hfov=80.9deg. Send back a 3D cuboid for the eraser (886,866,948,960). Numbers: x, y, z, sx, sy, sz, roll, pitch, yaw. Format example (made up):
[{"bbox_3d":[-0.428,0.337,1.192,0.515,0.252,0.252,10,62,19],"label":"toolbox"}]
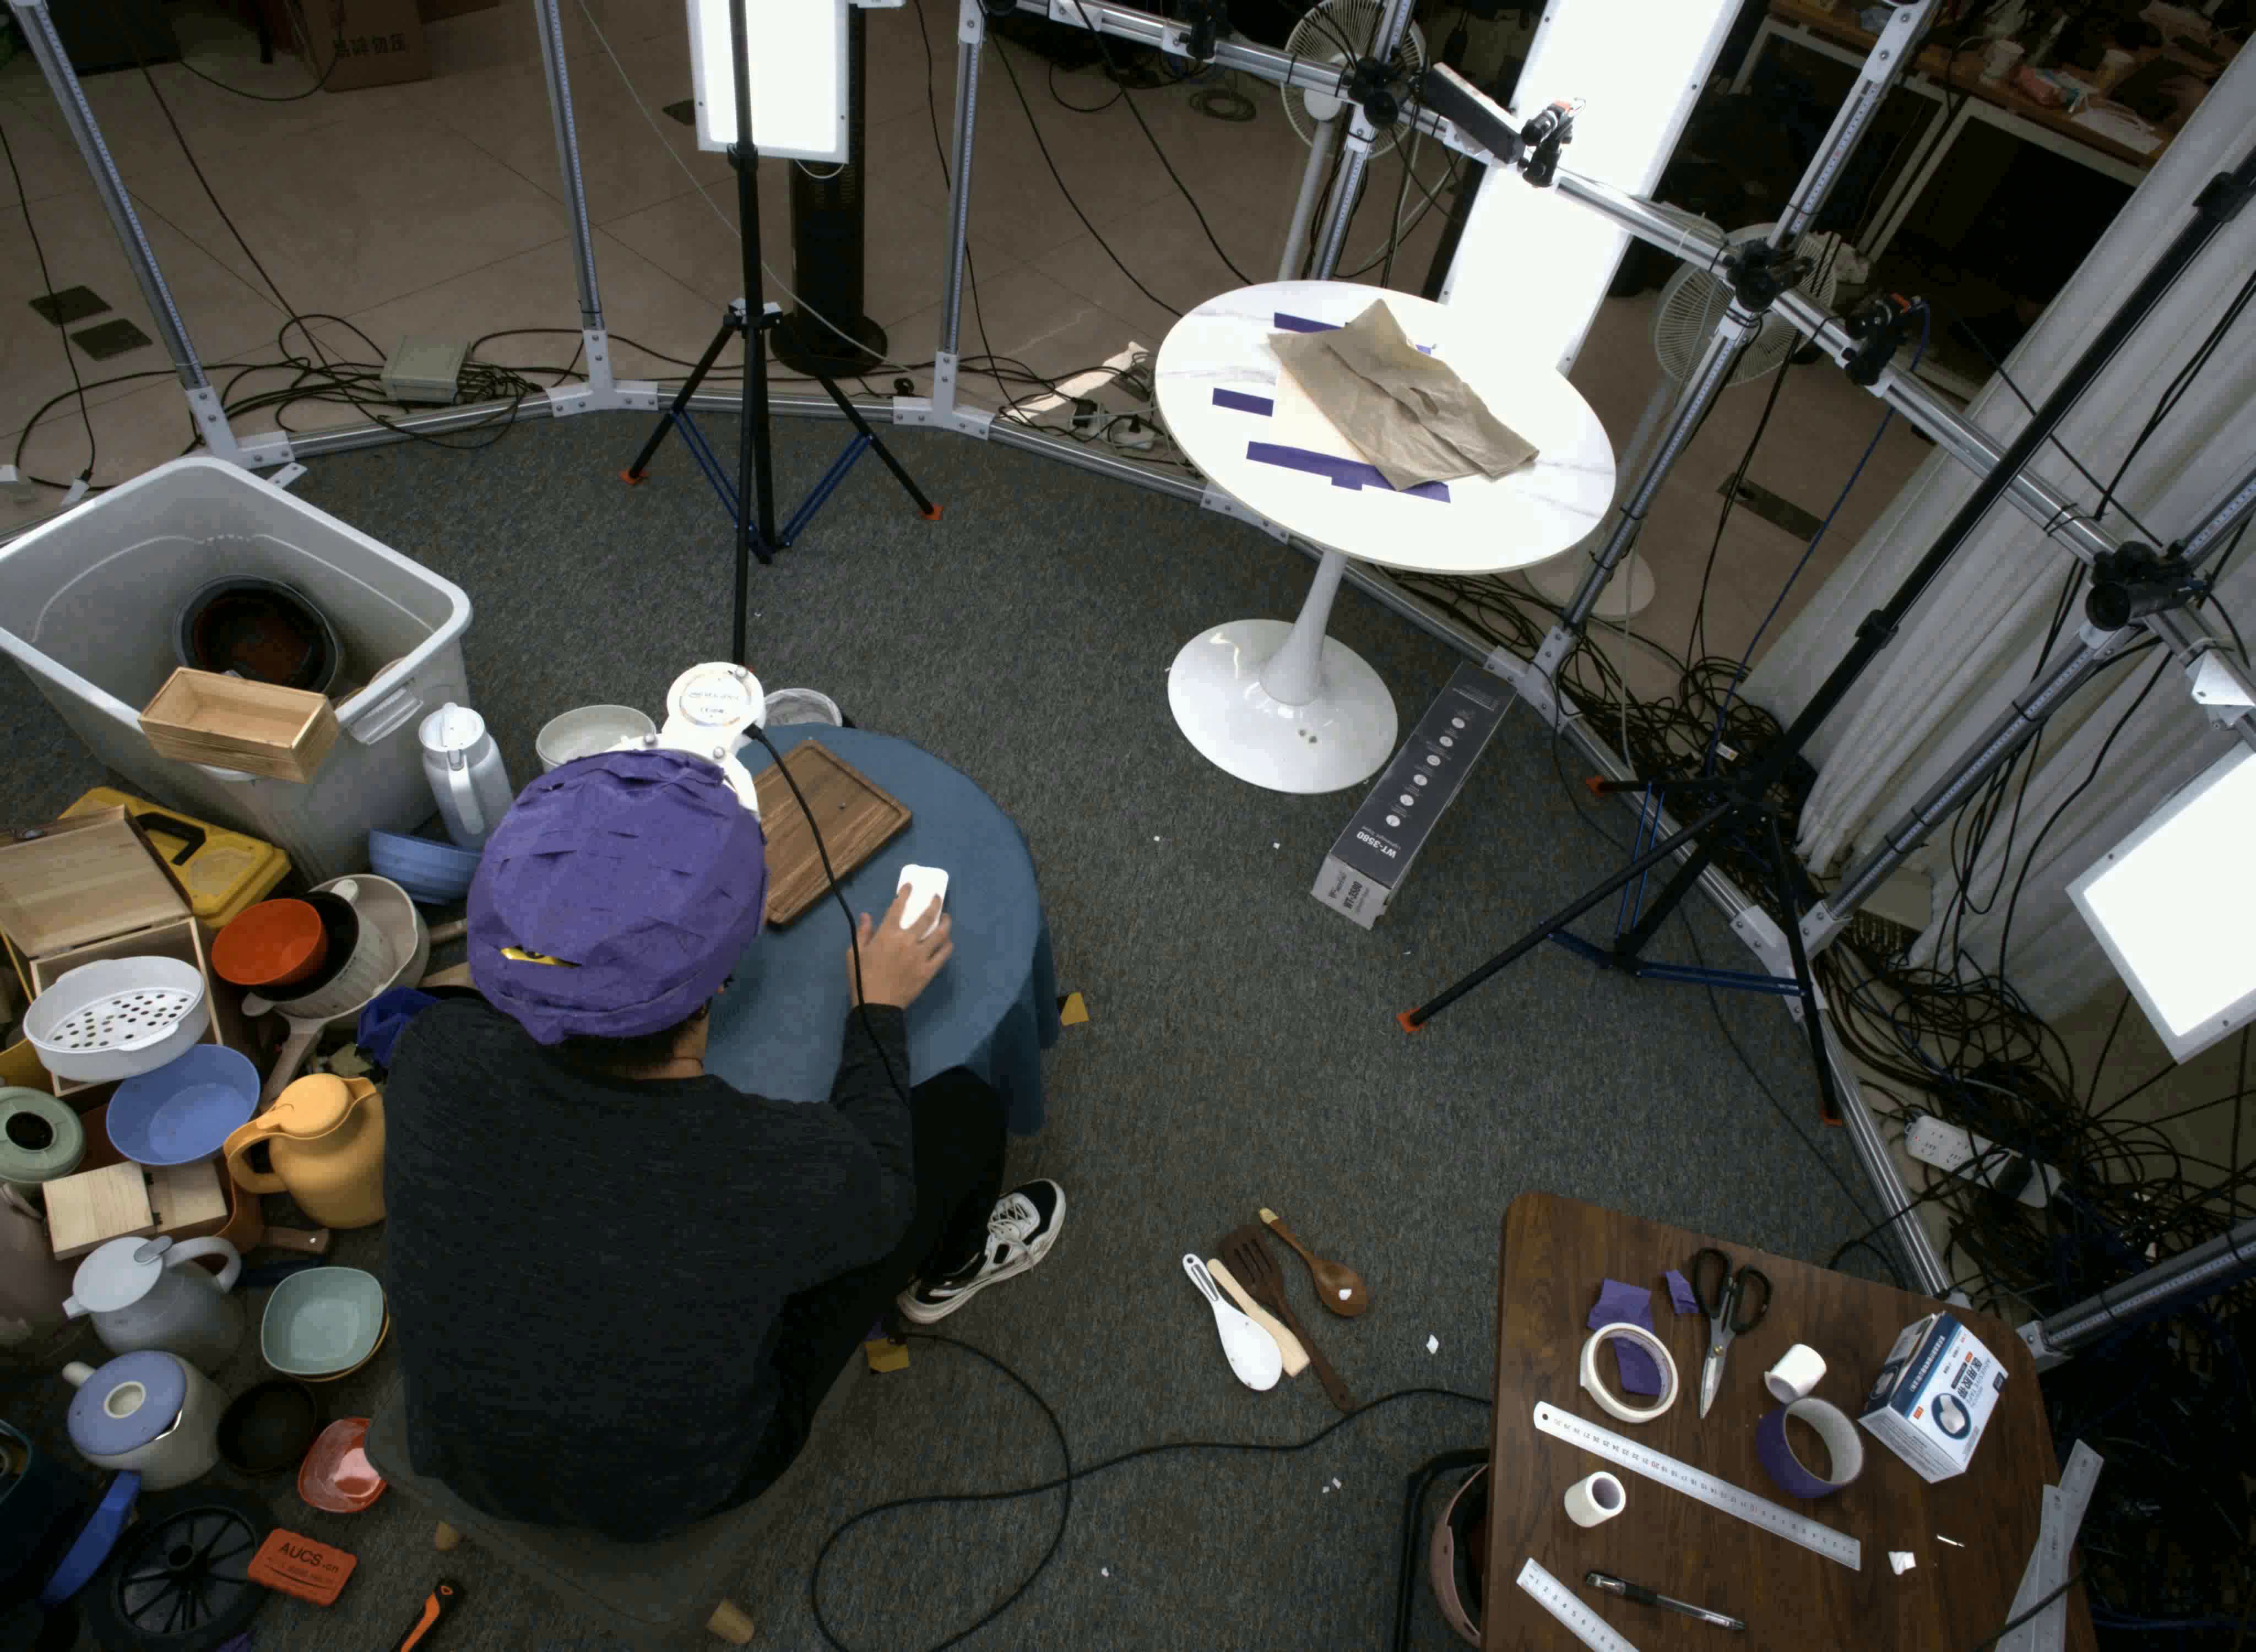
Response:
[{"bbox_3d":[-0.270,0.107,1.660,0.063,0.035,0.129,12,51,-6],"label":"eraser"}]

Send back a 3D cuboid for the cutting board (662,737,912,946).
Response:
[{"bbox_3d":[-0.464,0.032,1.671,0.197,0.023,0.352,35,53,12],"label":"cutting board"}]
